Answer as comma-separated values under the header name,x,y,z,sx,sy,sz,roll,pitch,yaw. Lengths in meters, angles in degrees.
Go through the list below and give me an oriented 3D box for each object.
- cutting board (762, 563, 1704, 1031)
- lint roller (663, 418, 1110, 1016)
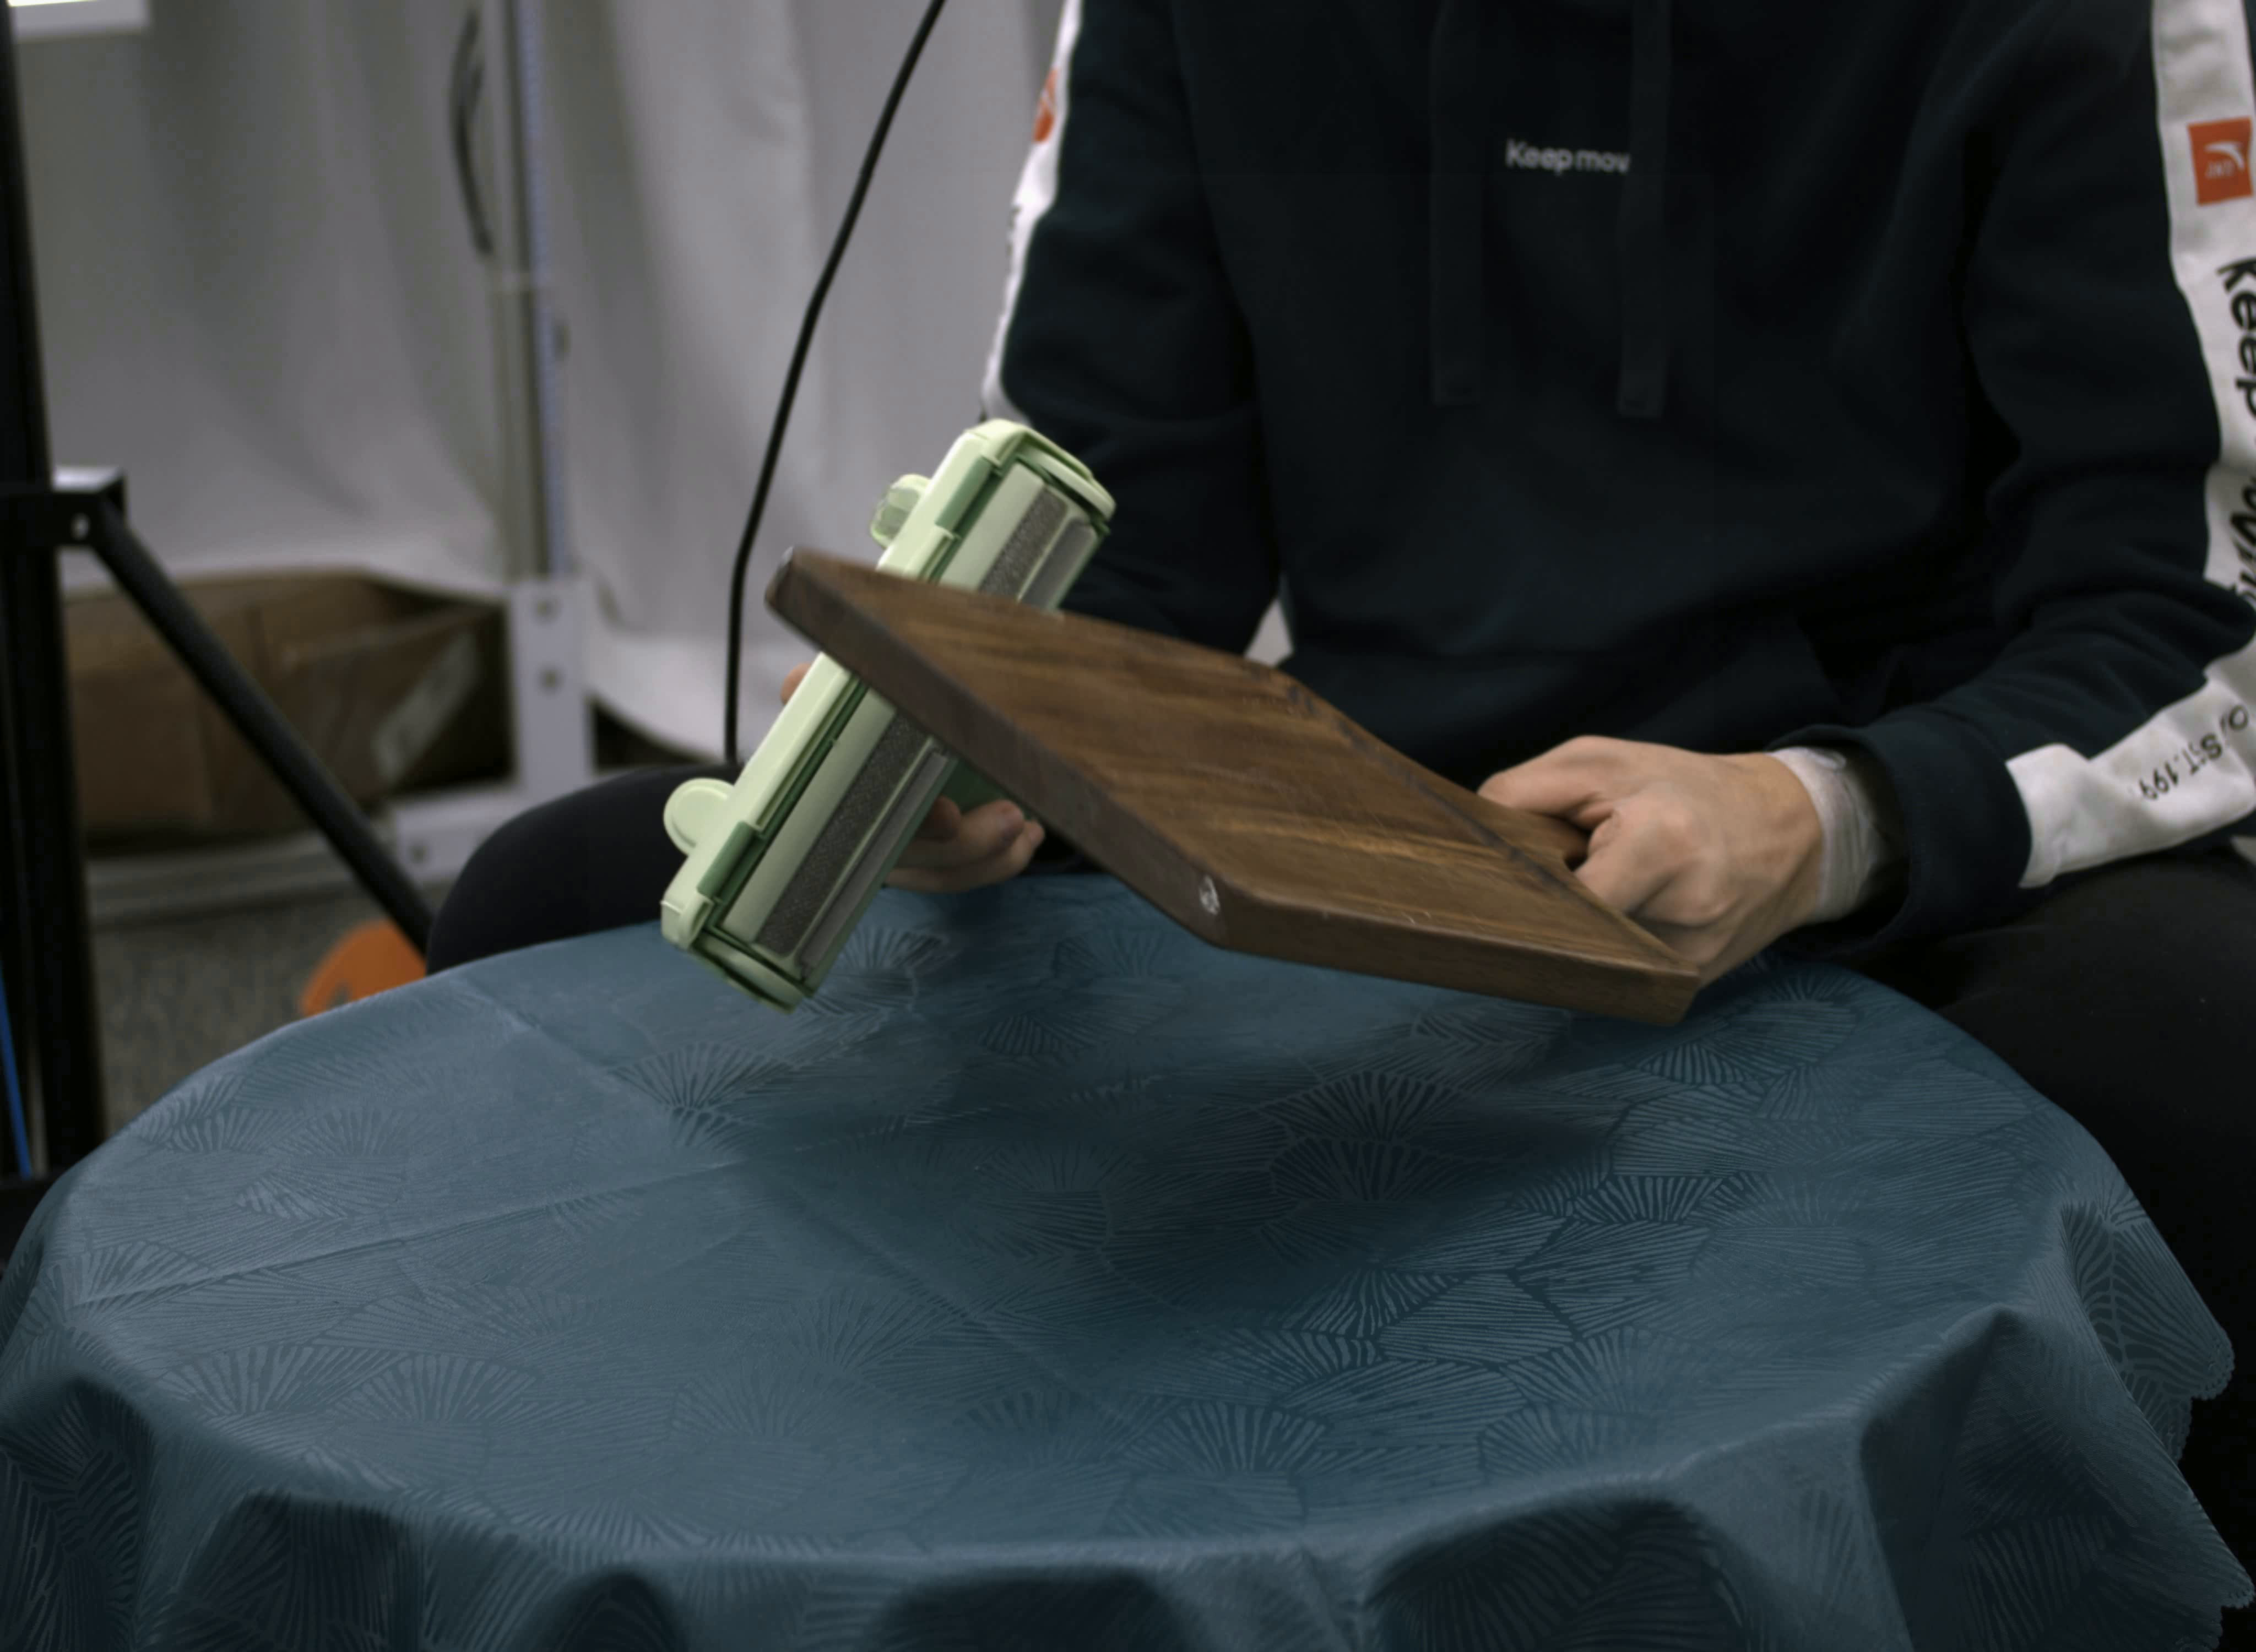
name,x,y,z,sx,sy,sz,roll,pitch,yaw
cutting board,0.063,-0.001,1.573,0.205,0.023,0.343,36,15,34
lint roller,-0.078,-0.030,1.731,0.082,0.199,0.182,32,-5,8
